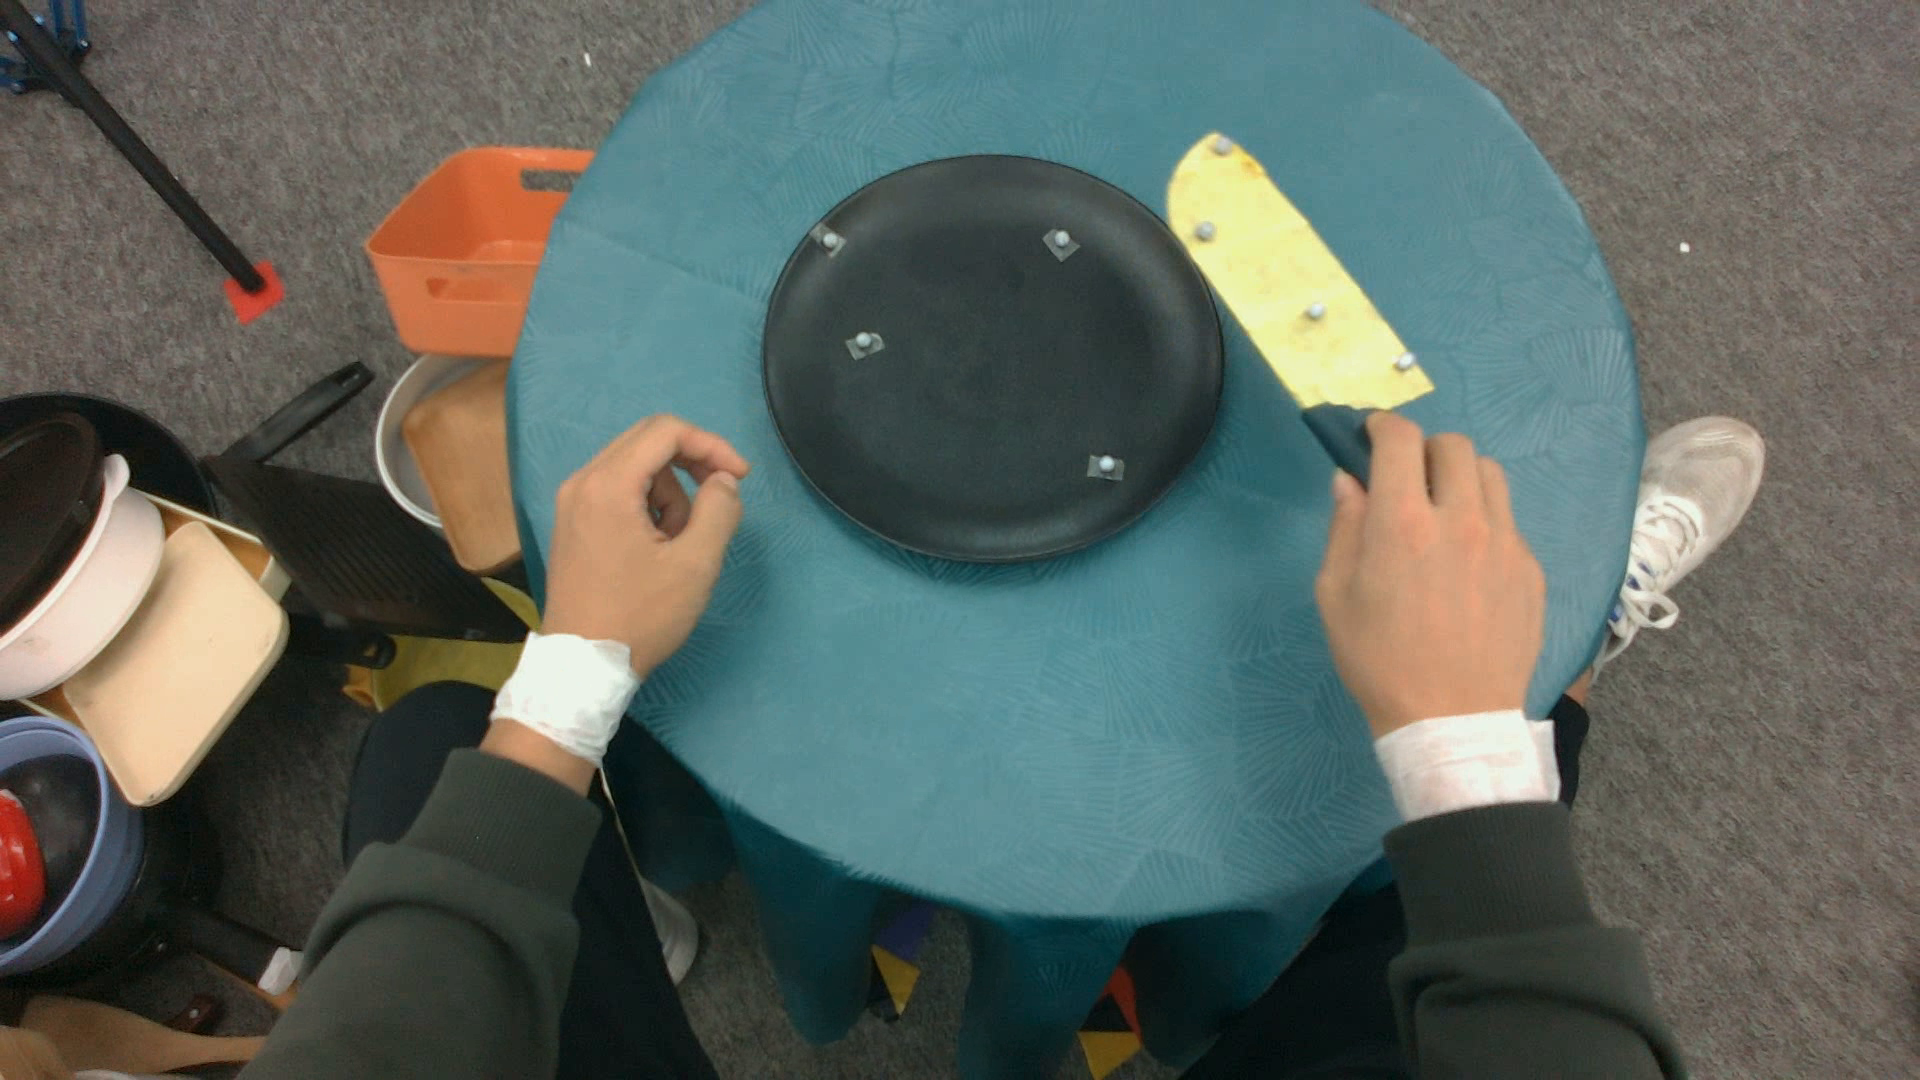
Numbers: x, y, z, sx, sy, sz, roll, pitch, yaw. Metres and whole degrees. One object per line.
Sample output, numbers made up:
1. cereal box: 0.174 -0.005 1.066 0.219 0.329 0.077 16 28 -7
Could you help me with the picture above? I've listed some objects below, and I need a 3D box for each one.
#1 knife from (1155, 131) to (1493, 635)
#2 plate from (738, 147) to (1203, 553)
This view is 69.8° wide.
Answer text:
1. knife: 0.175 -0.086 0.656 0.081 0.027 0.290 -18 70 -22
2. plate: 0.006 -0.104 0.728 0.244 0.023 0.245 1 67 -1
